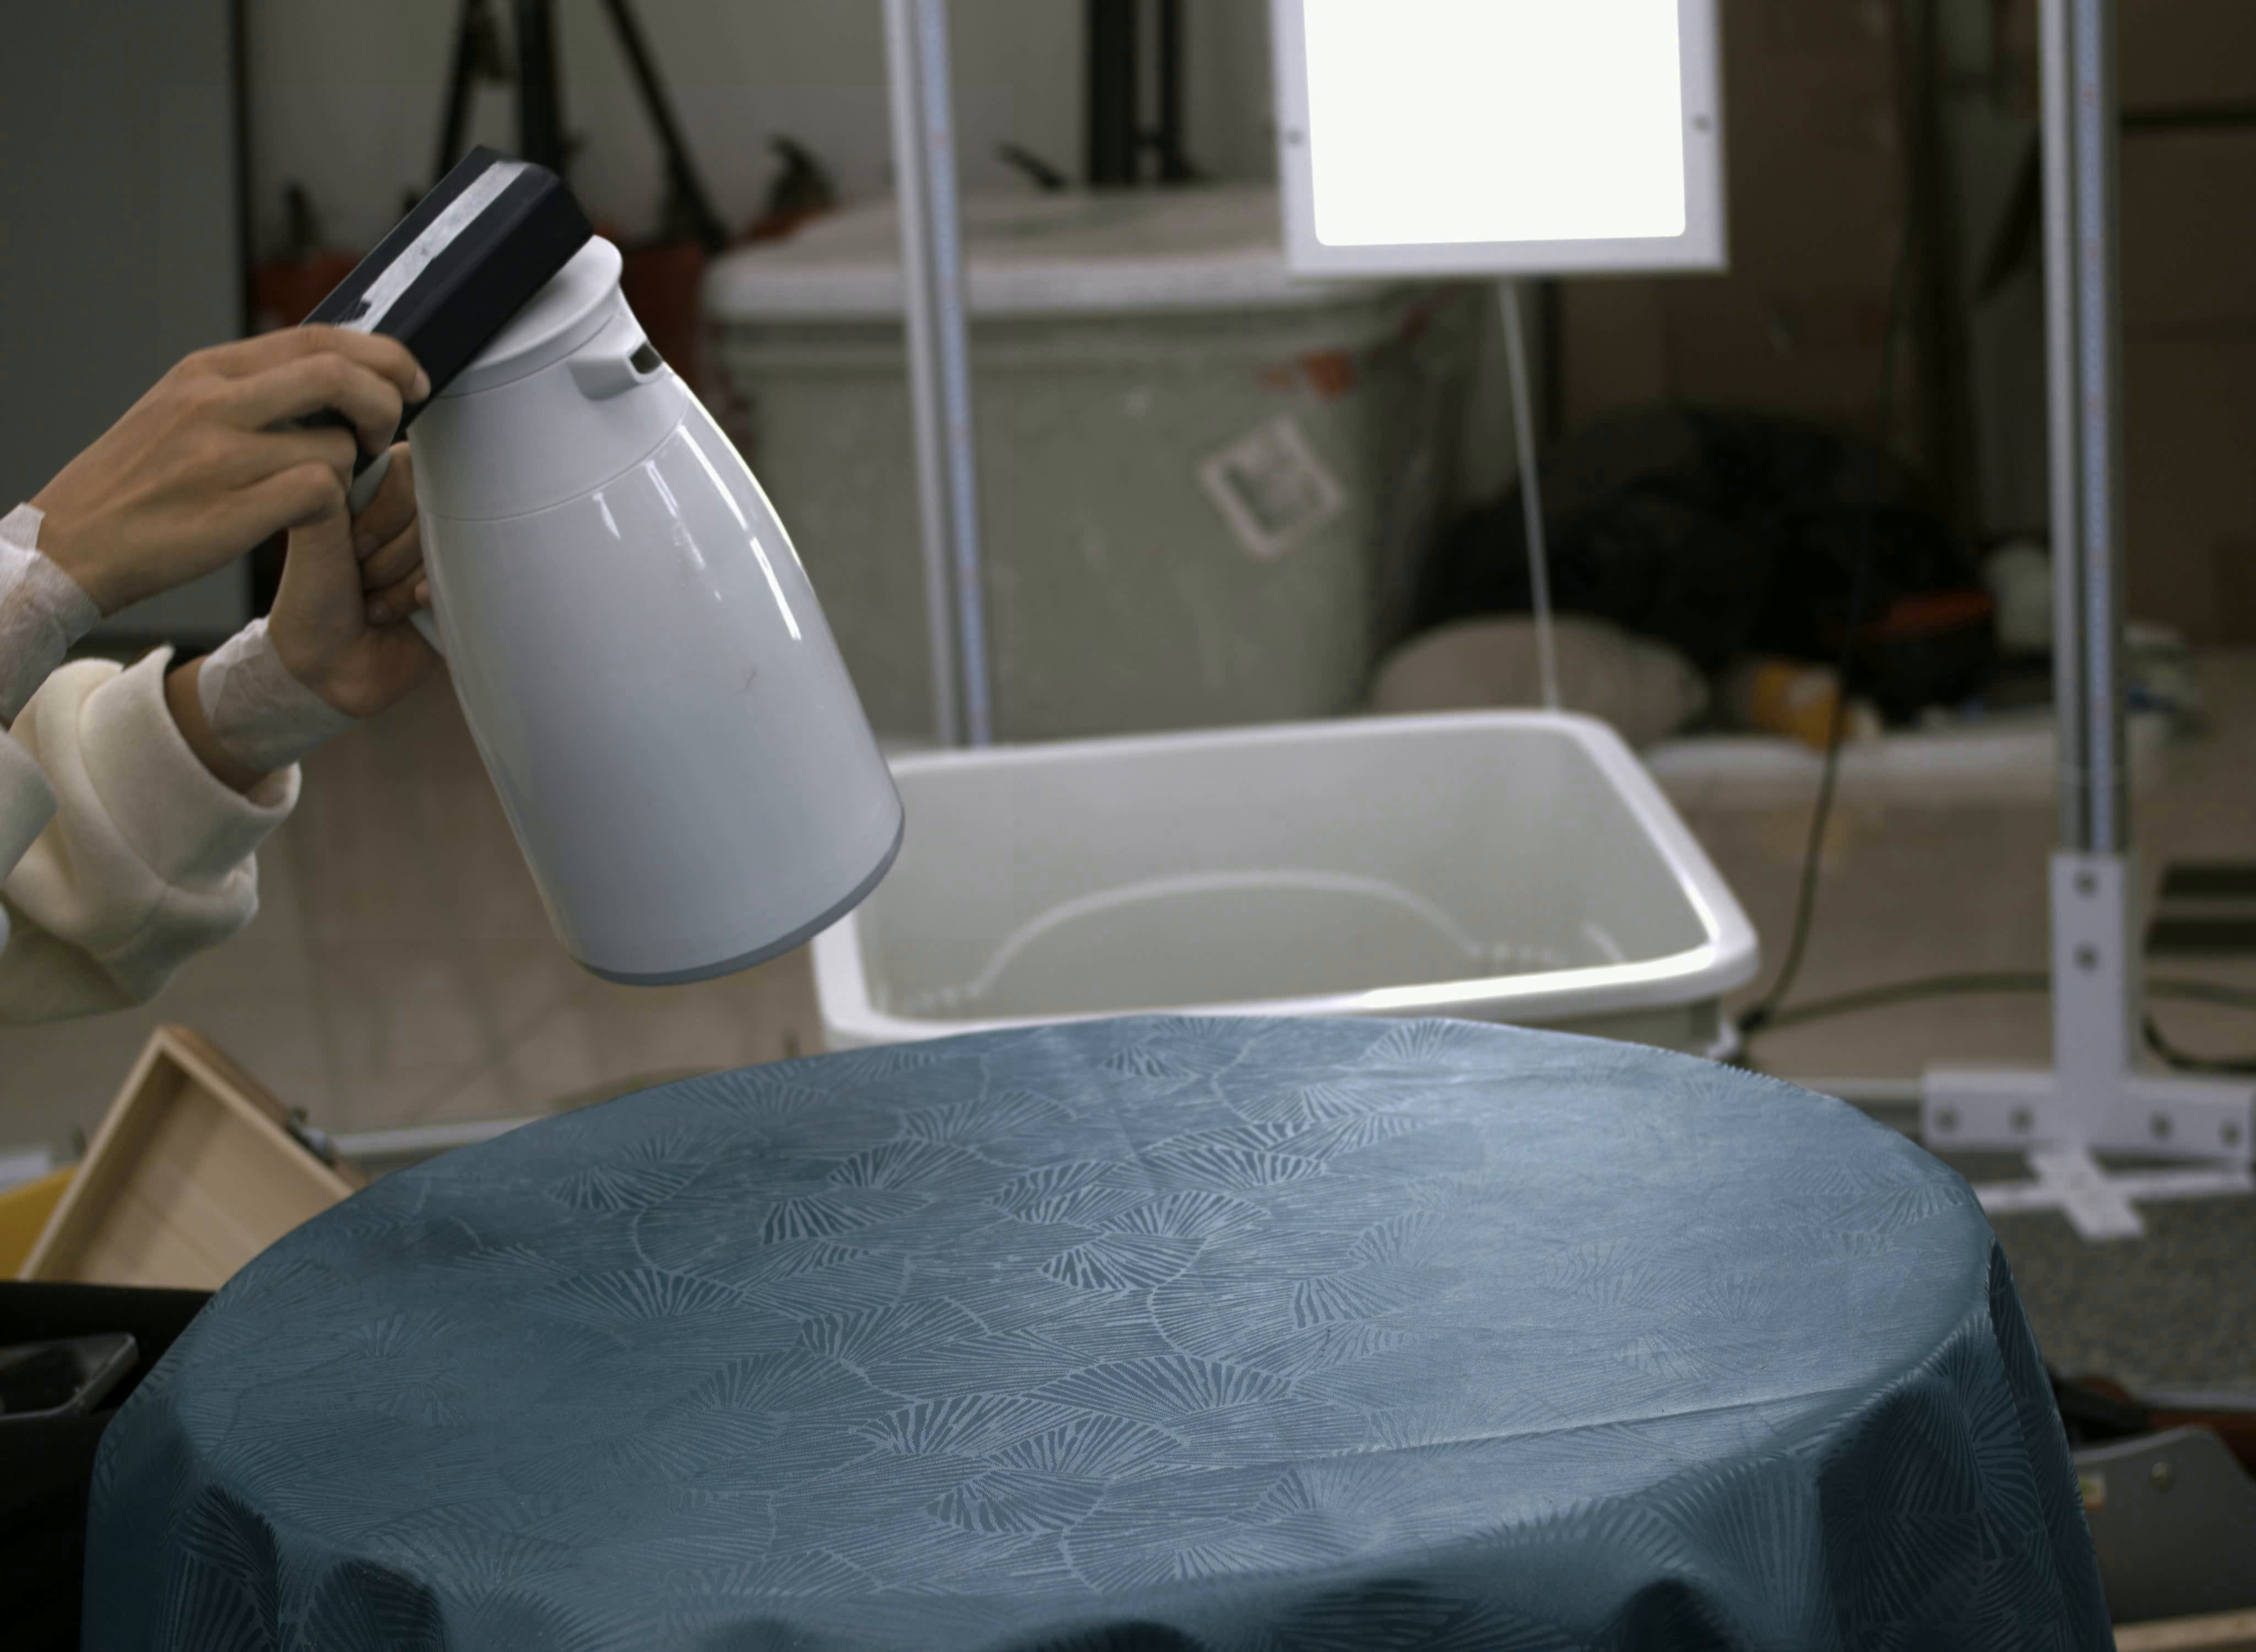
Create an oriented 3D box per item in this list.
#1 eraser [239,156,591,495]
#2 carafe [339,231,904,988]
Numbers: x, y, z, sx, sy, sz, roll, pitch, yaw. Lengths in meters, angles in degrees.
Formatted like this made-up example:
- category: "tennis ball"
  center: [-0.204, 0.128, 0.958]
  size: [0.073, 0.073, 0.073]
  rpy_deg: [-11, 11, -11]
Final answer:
- category: "eraser"
  center: [-0.234, -0.167, 1.819]
  size: [0.124, 0.030, 0.054]
  rpy_deg: [-50, 40, -13]
- category: "carafe"
  center: [-0.194, -0.082, 1.920]
  size: [0.171, 0.248, 0.130]
  rpy_deg: [4, 38, 37]
